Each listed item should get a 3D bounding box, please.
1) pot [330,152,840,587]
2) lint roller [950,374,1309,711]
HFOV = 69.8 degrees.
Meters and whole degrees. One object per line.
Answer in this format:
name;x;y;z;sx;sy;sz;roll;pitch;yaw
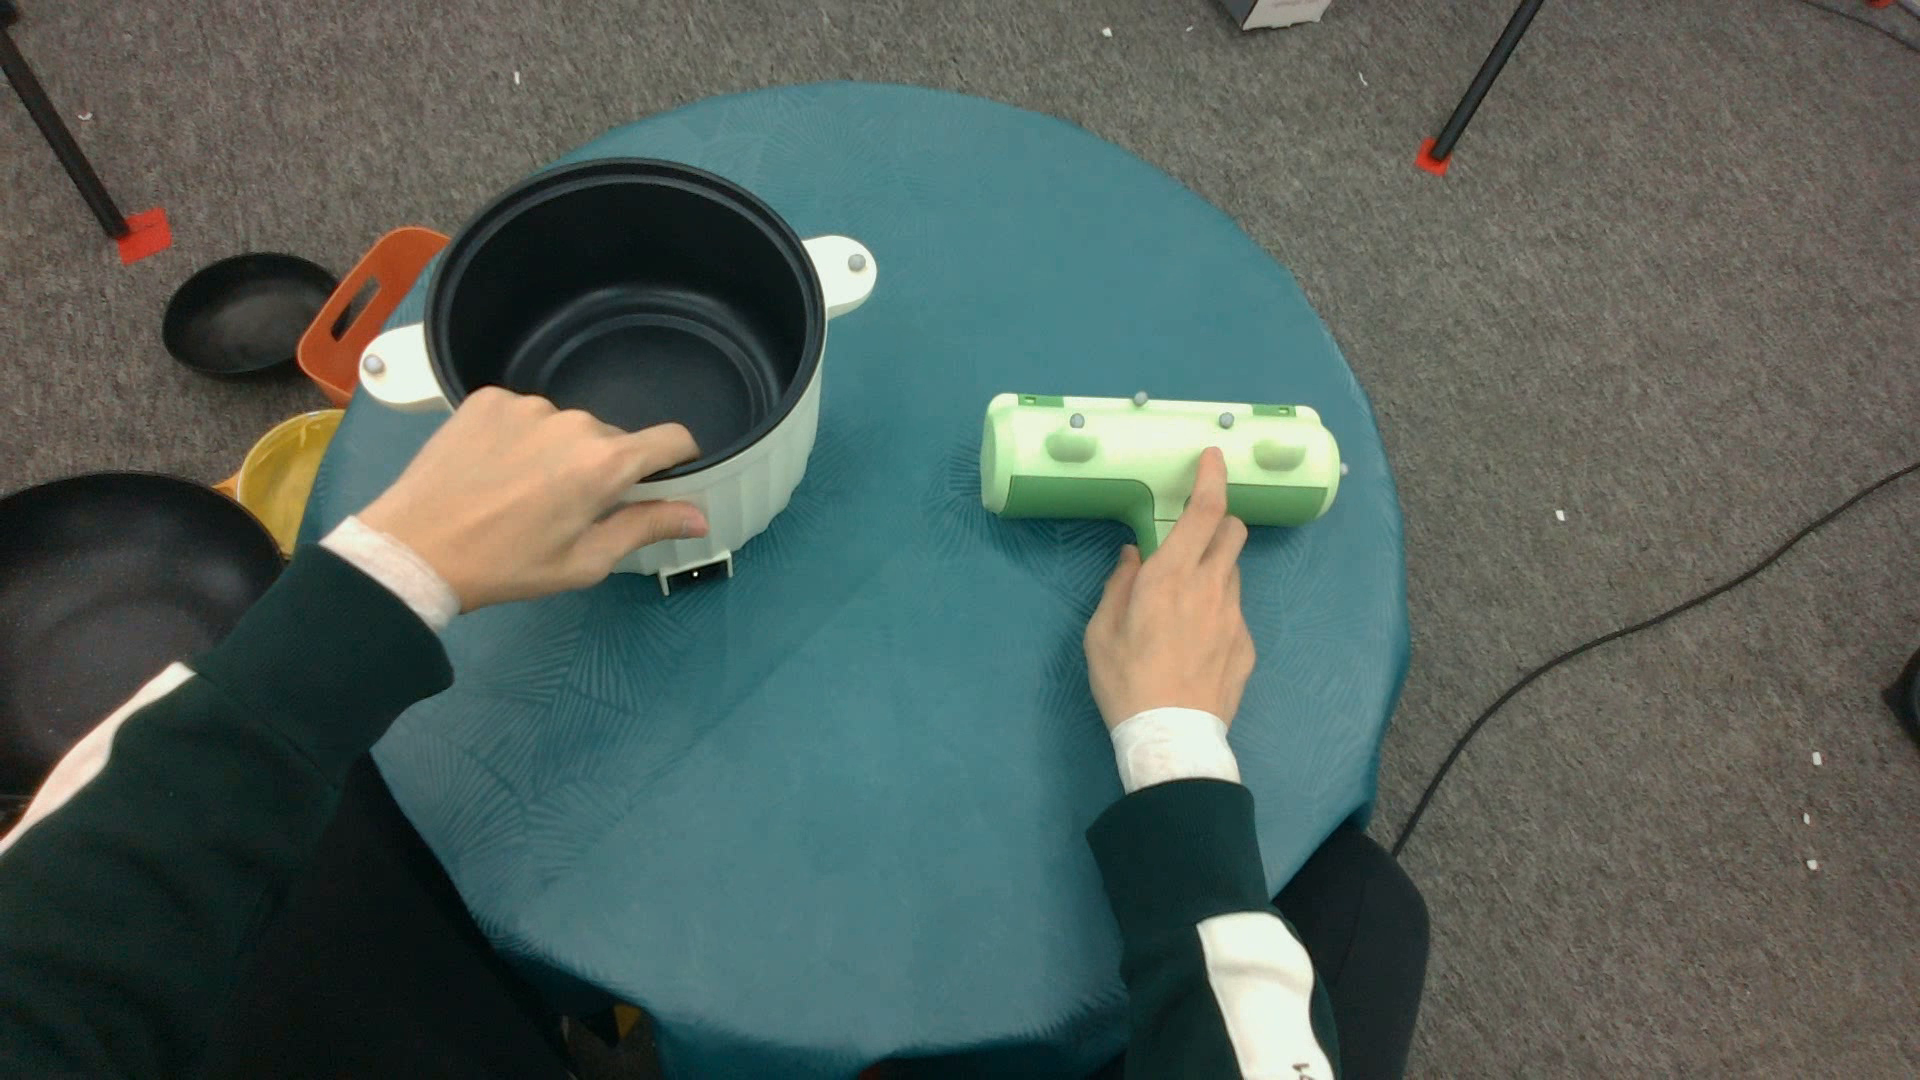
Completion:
pot;-0.180;-0.085;0.698;0.241;0.142;0.191;-18;71;-17
lint roller;0.100;-0.007;0.728;0.199;0.082;0.184;1;61;-13
